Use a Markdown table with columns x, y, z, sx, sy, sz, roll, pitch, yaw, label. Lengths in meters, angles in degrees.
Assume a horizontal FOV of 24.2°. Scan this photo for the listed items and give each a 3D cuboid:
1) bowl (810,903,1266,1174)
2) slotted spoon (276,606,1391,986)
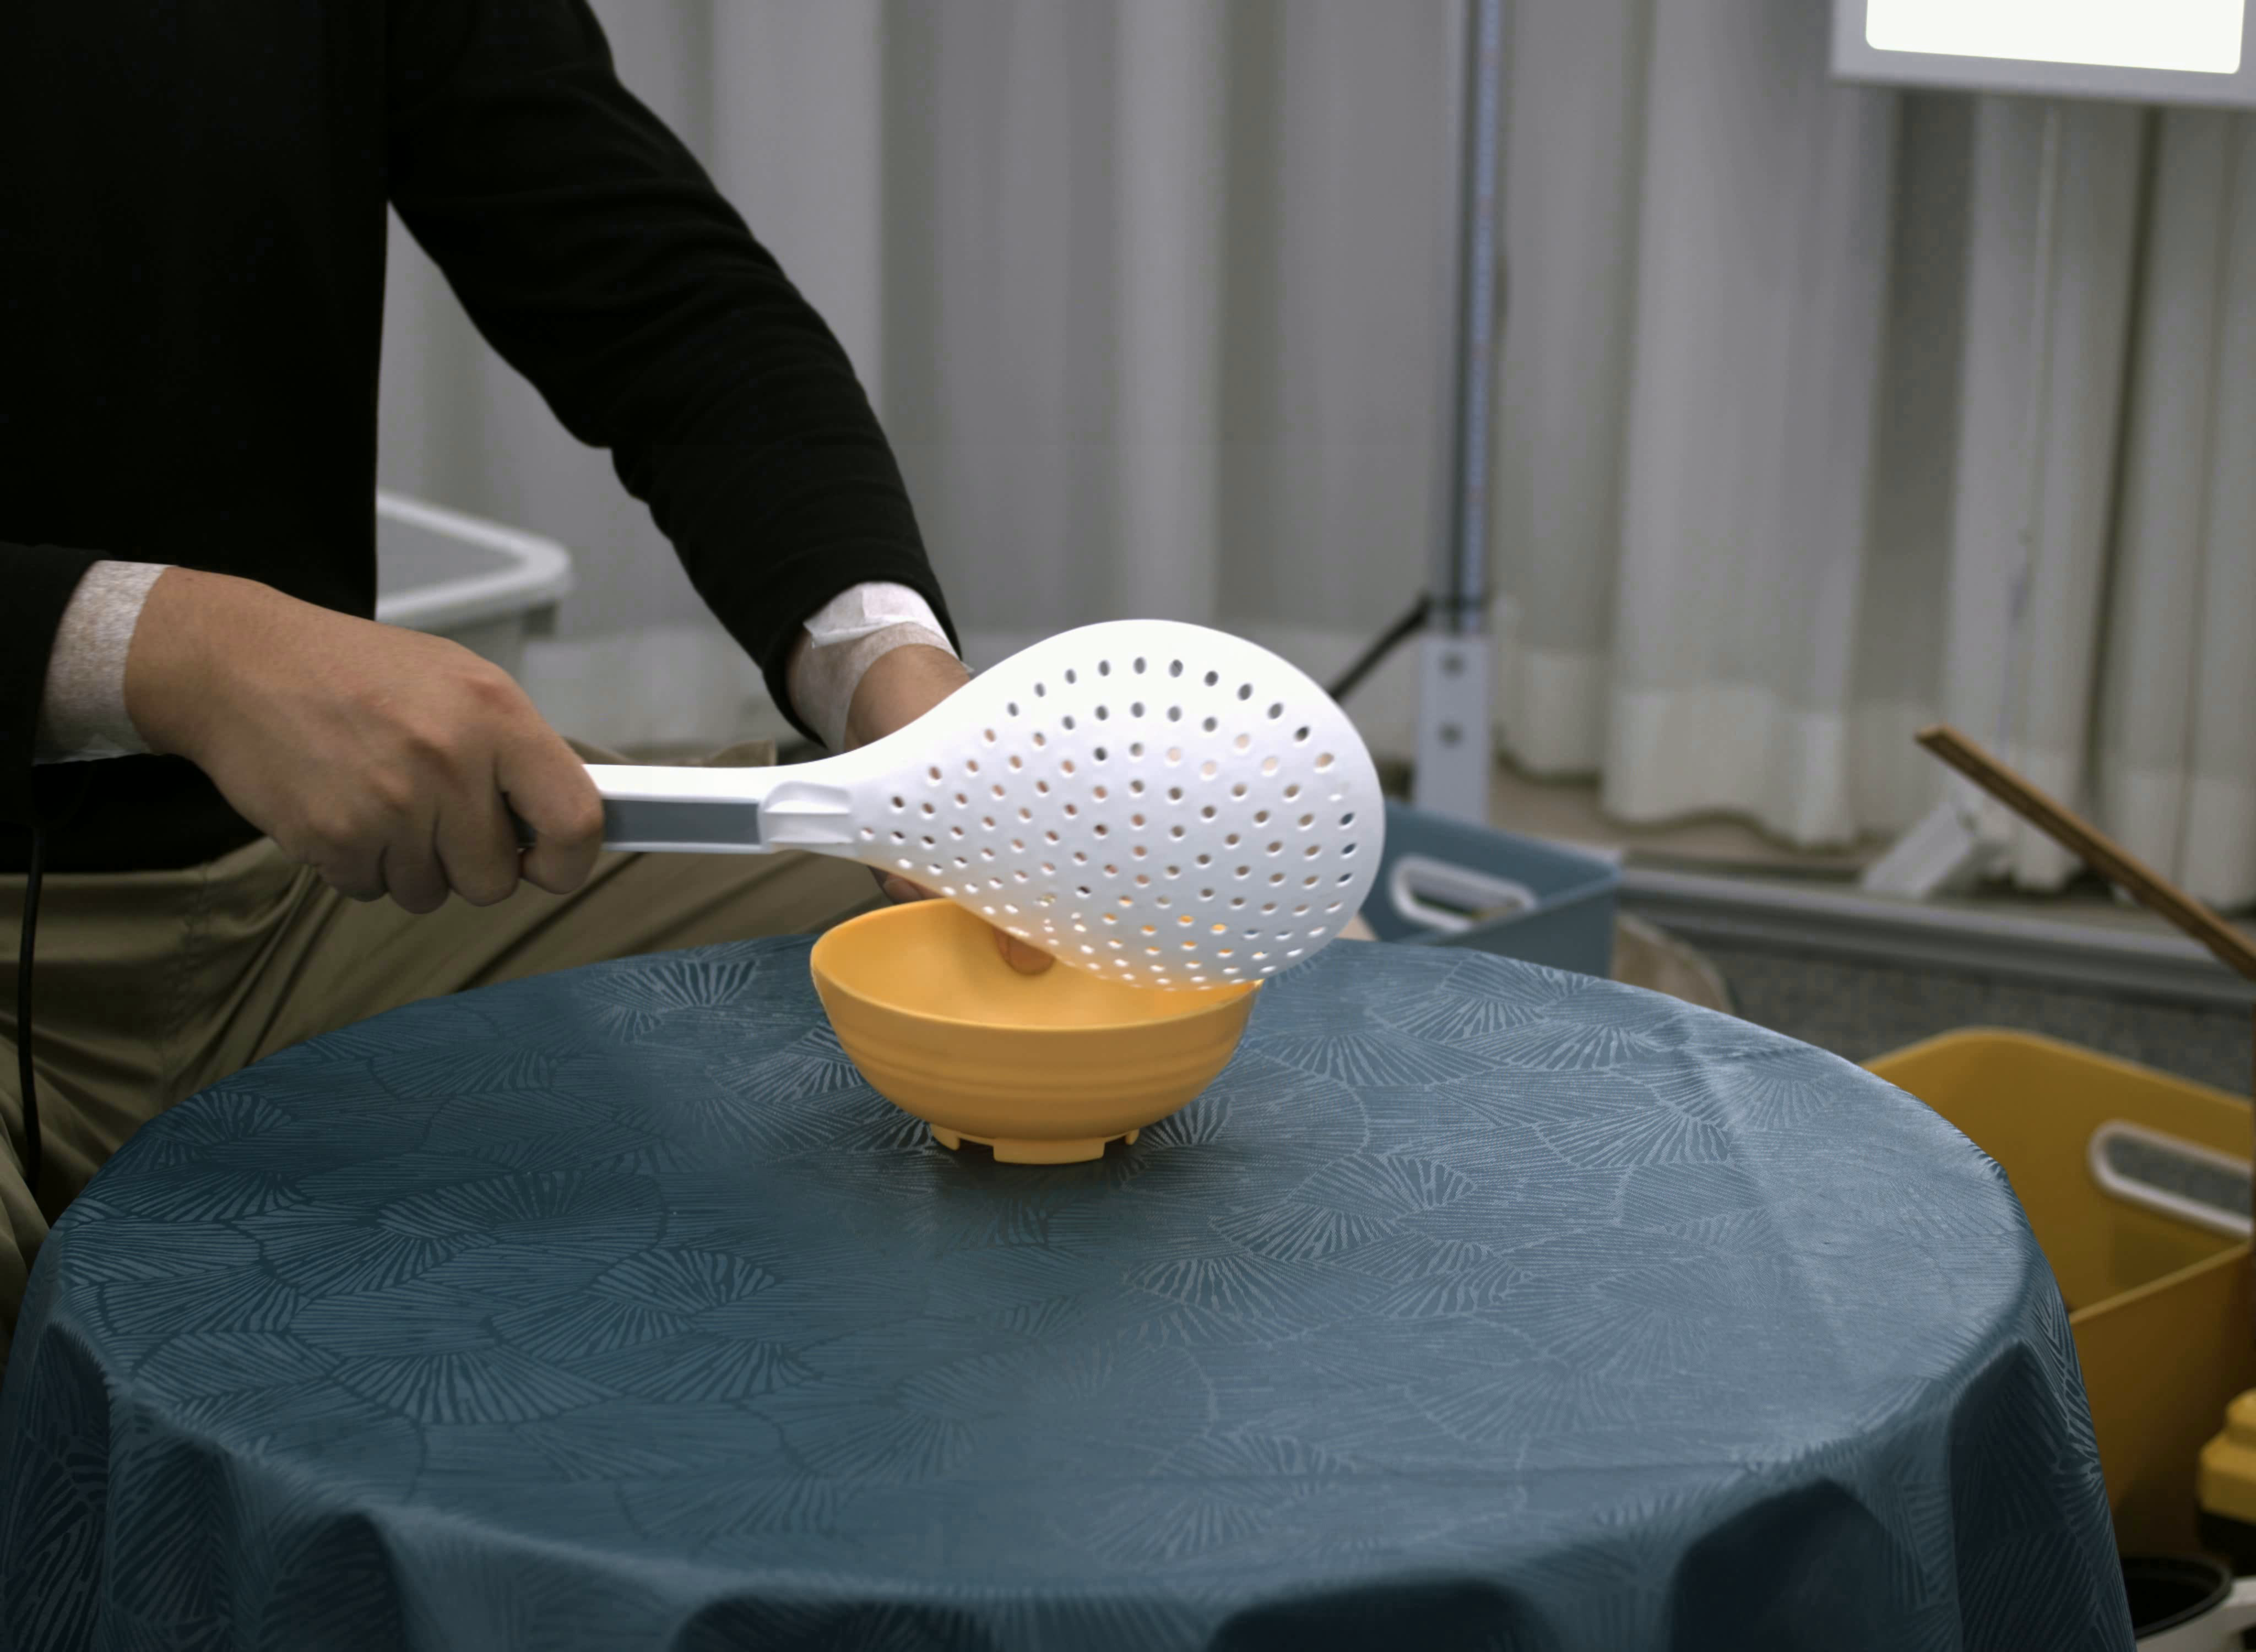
| x | y | z | sx | sy | sz | roll | pitch | yaw | label |
| --- | --- | --- | --- | --- | --- | --- | --- | --- | --- |
| -0.030 | 0.072 | 1.666 | 0.145 | 0.060 | 0.144 | 4 | 14 | -1 | bowl |
| -0.094 | -0.006 | 1.618 | 0.347 | 0.138 | 0.045 | 4 | 34 | 13 | slotted spoon |
